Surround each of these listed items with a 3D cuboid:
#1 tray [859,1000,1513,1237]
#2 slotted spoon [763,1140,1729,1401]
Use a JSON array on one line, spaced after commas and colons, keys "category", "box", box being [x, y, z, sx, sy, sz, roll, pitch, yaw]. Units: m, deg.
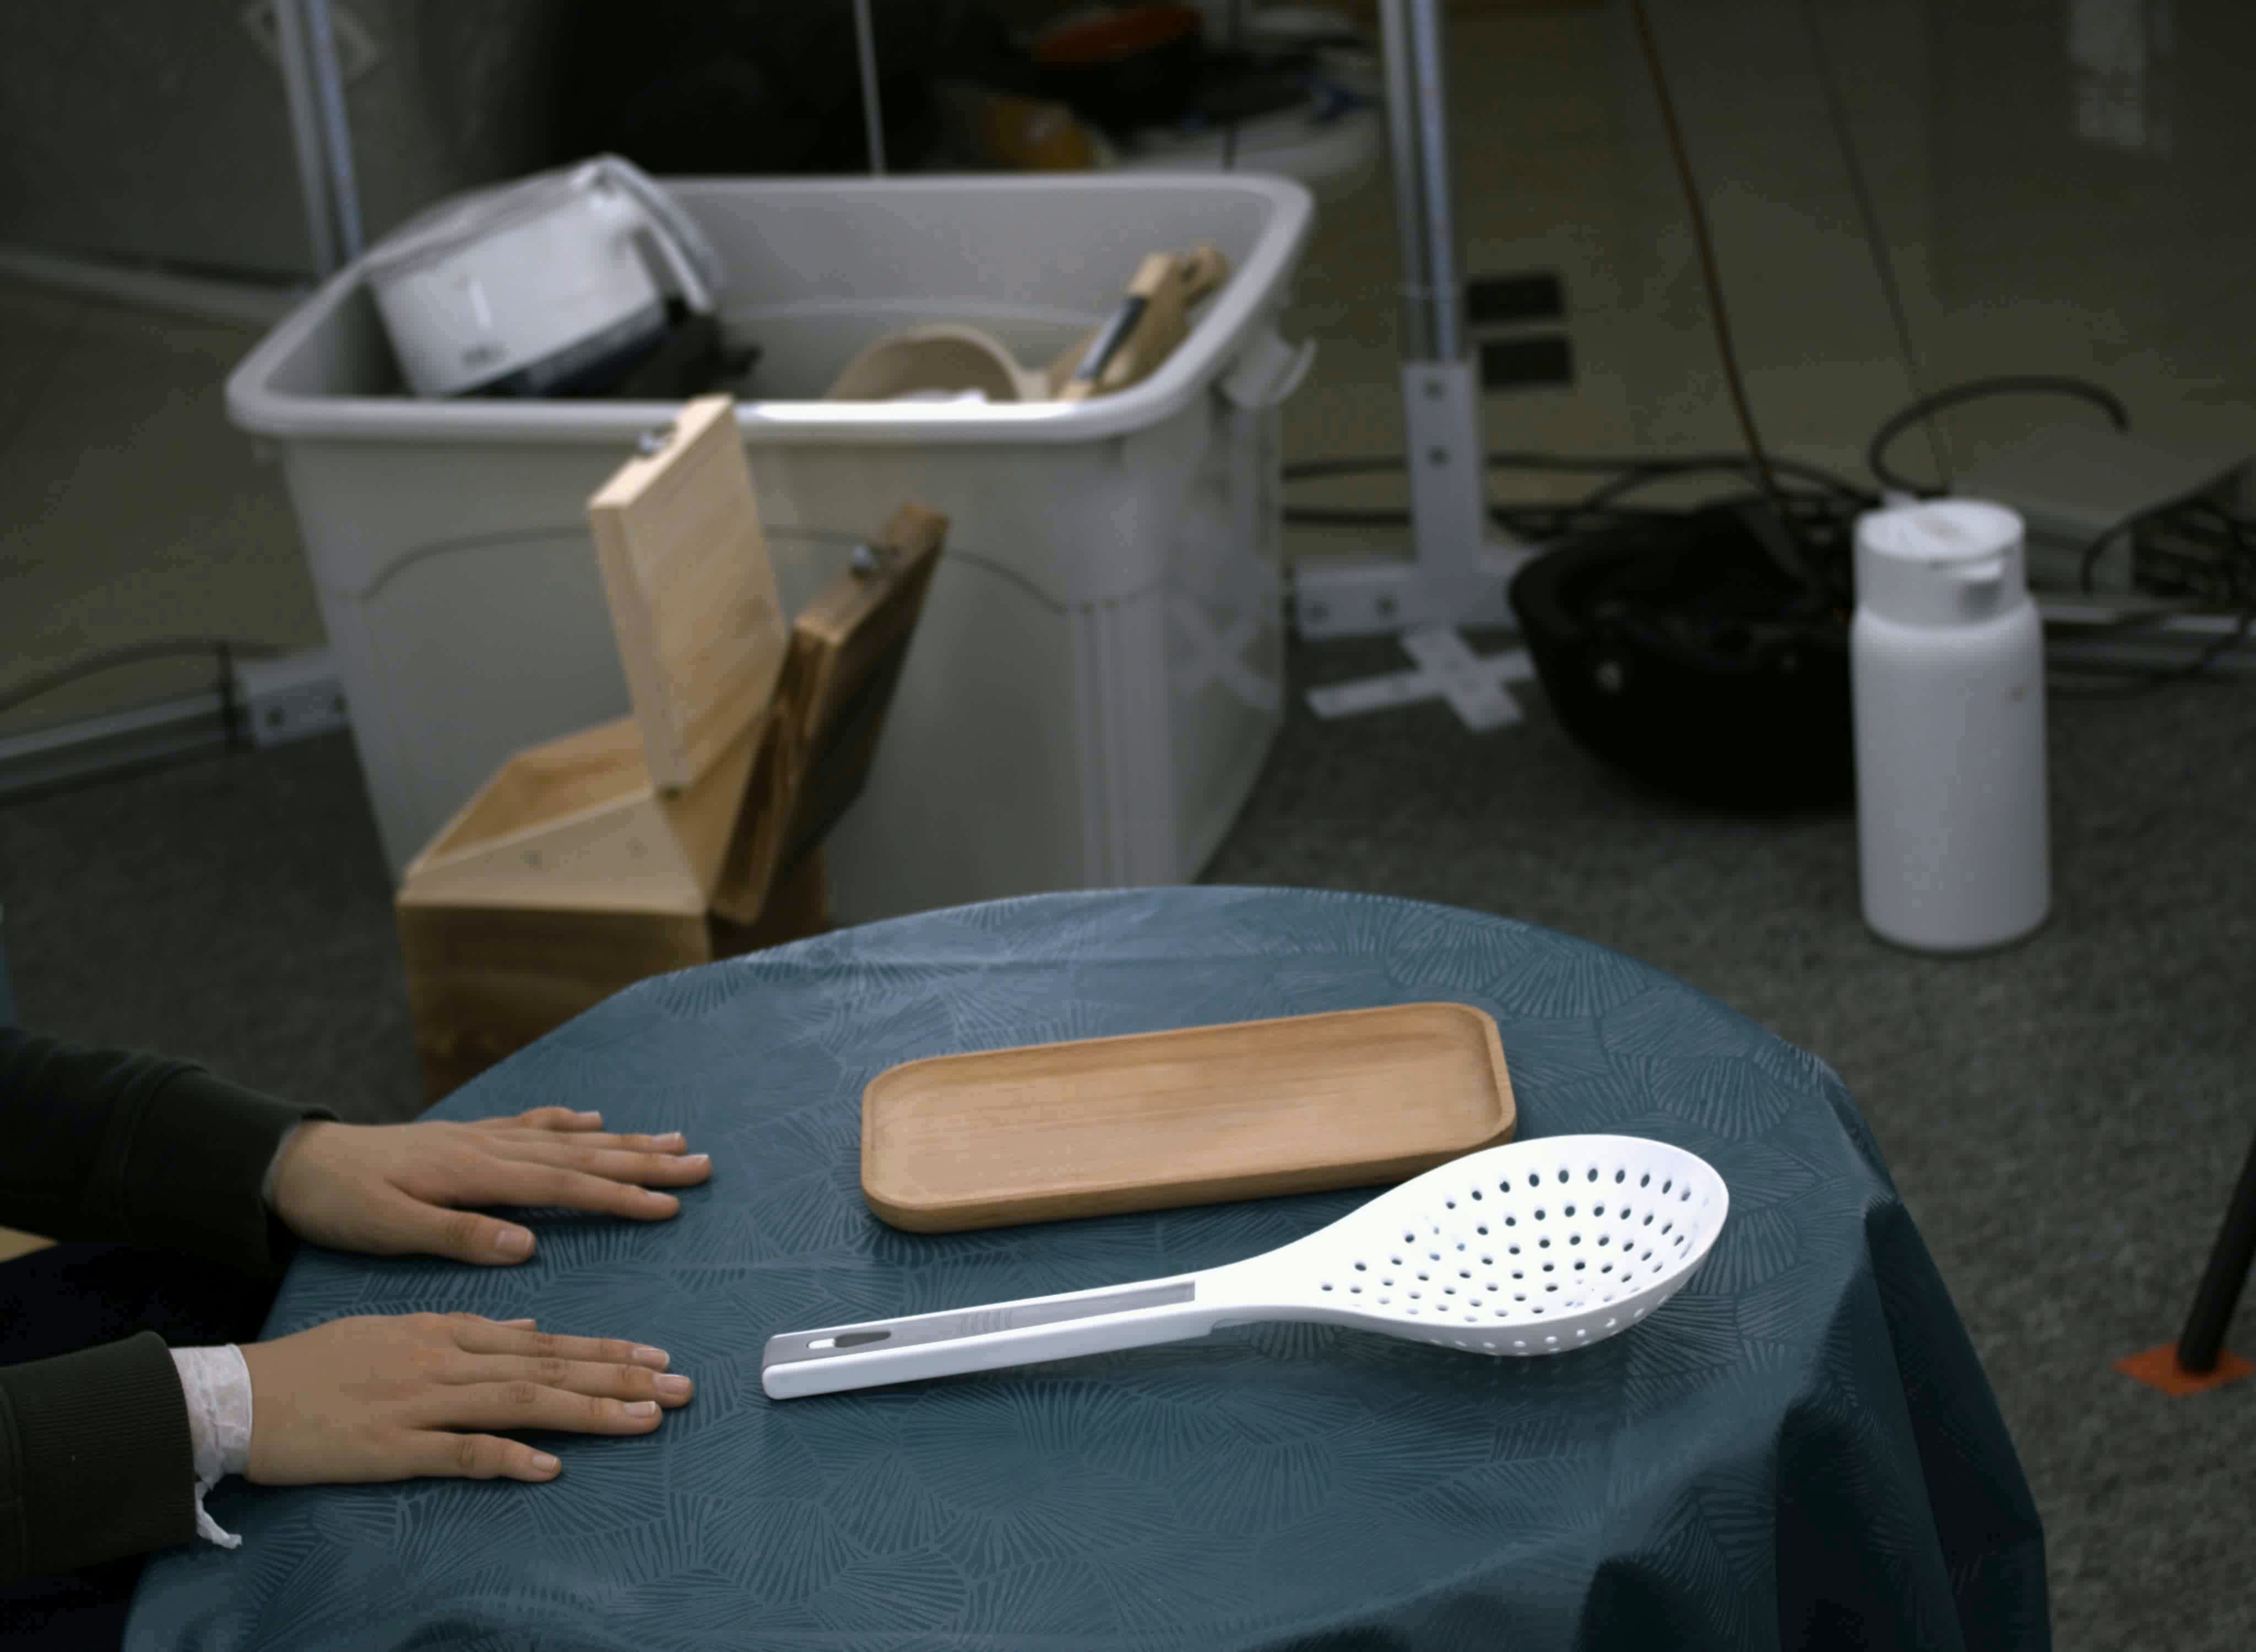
[{"category": "tray", "box": [0.021, 0.113, 2.185, 0.250, 0.023, 0.129, -7, 23, 1]}, {"category": "slotted spoon", "box": [0.041, 0.168, 2.027, 0.349, 0.046, 0.134, -5, 23, 4]}]
